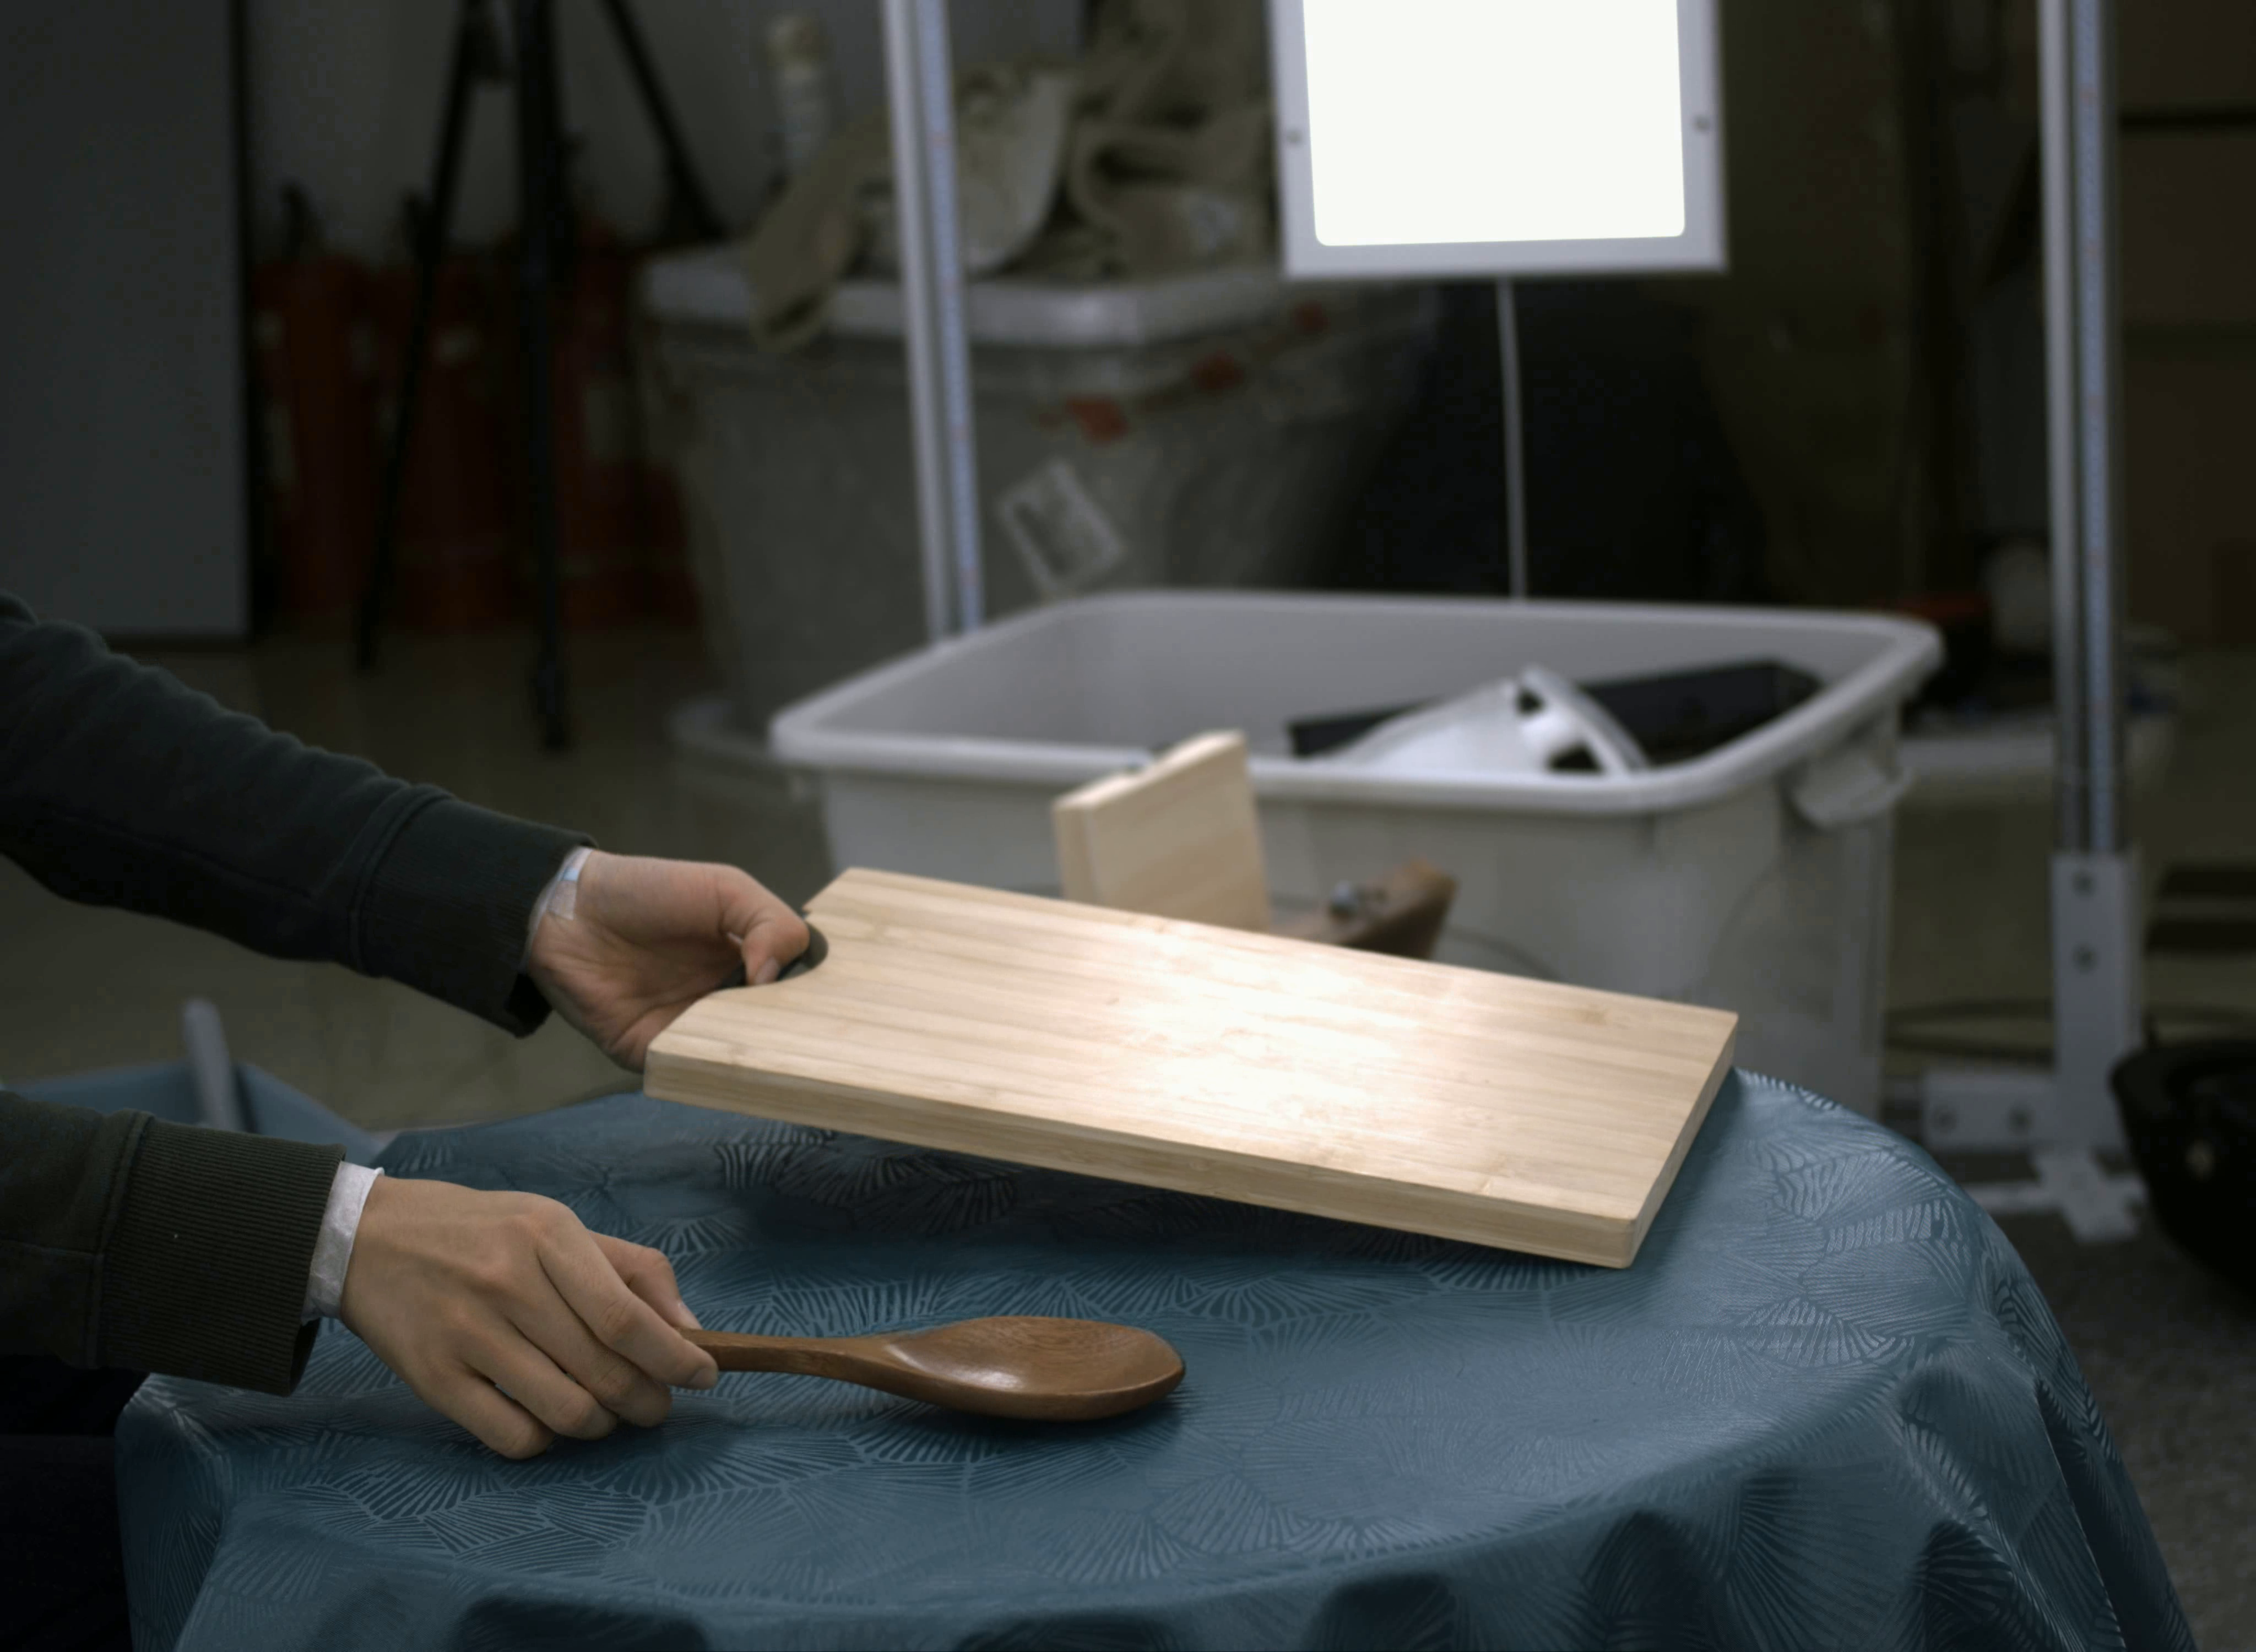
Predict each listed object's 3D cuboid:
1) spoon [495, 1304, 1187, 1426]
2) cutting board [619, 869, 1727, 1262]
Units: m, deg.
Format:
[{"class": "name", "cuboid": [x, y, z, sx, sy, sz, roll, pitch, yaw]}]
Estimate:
[{"class": "spoon", "cuboid": [-0.089, 0.164, 1.702, 0.216, 0.017, 0.075, 4, 17, 6]}, {"class": "cutting board", "cuboid": [0.023, 0.080, 1.924, 0.351, 0.024, 0.247, 8, 16, 13]}]
